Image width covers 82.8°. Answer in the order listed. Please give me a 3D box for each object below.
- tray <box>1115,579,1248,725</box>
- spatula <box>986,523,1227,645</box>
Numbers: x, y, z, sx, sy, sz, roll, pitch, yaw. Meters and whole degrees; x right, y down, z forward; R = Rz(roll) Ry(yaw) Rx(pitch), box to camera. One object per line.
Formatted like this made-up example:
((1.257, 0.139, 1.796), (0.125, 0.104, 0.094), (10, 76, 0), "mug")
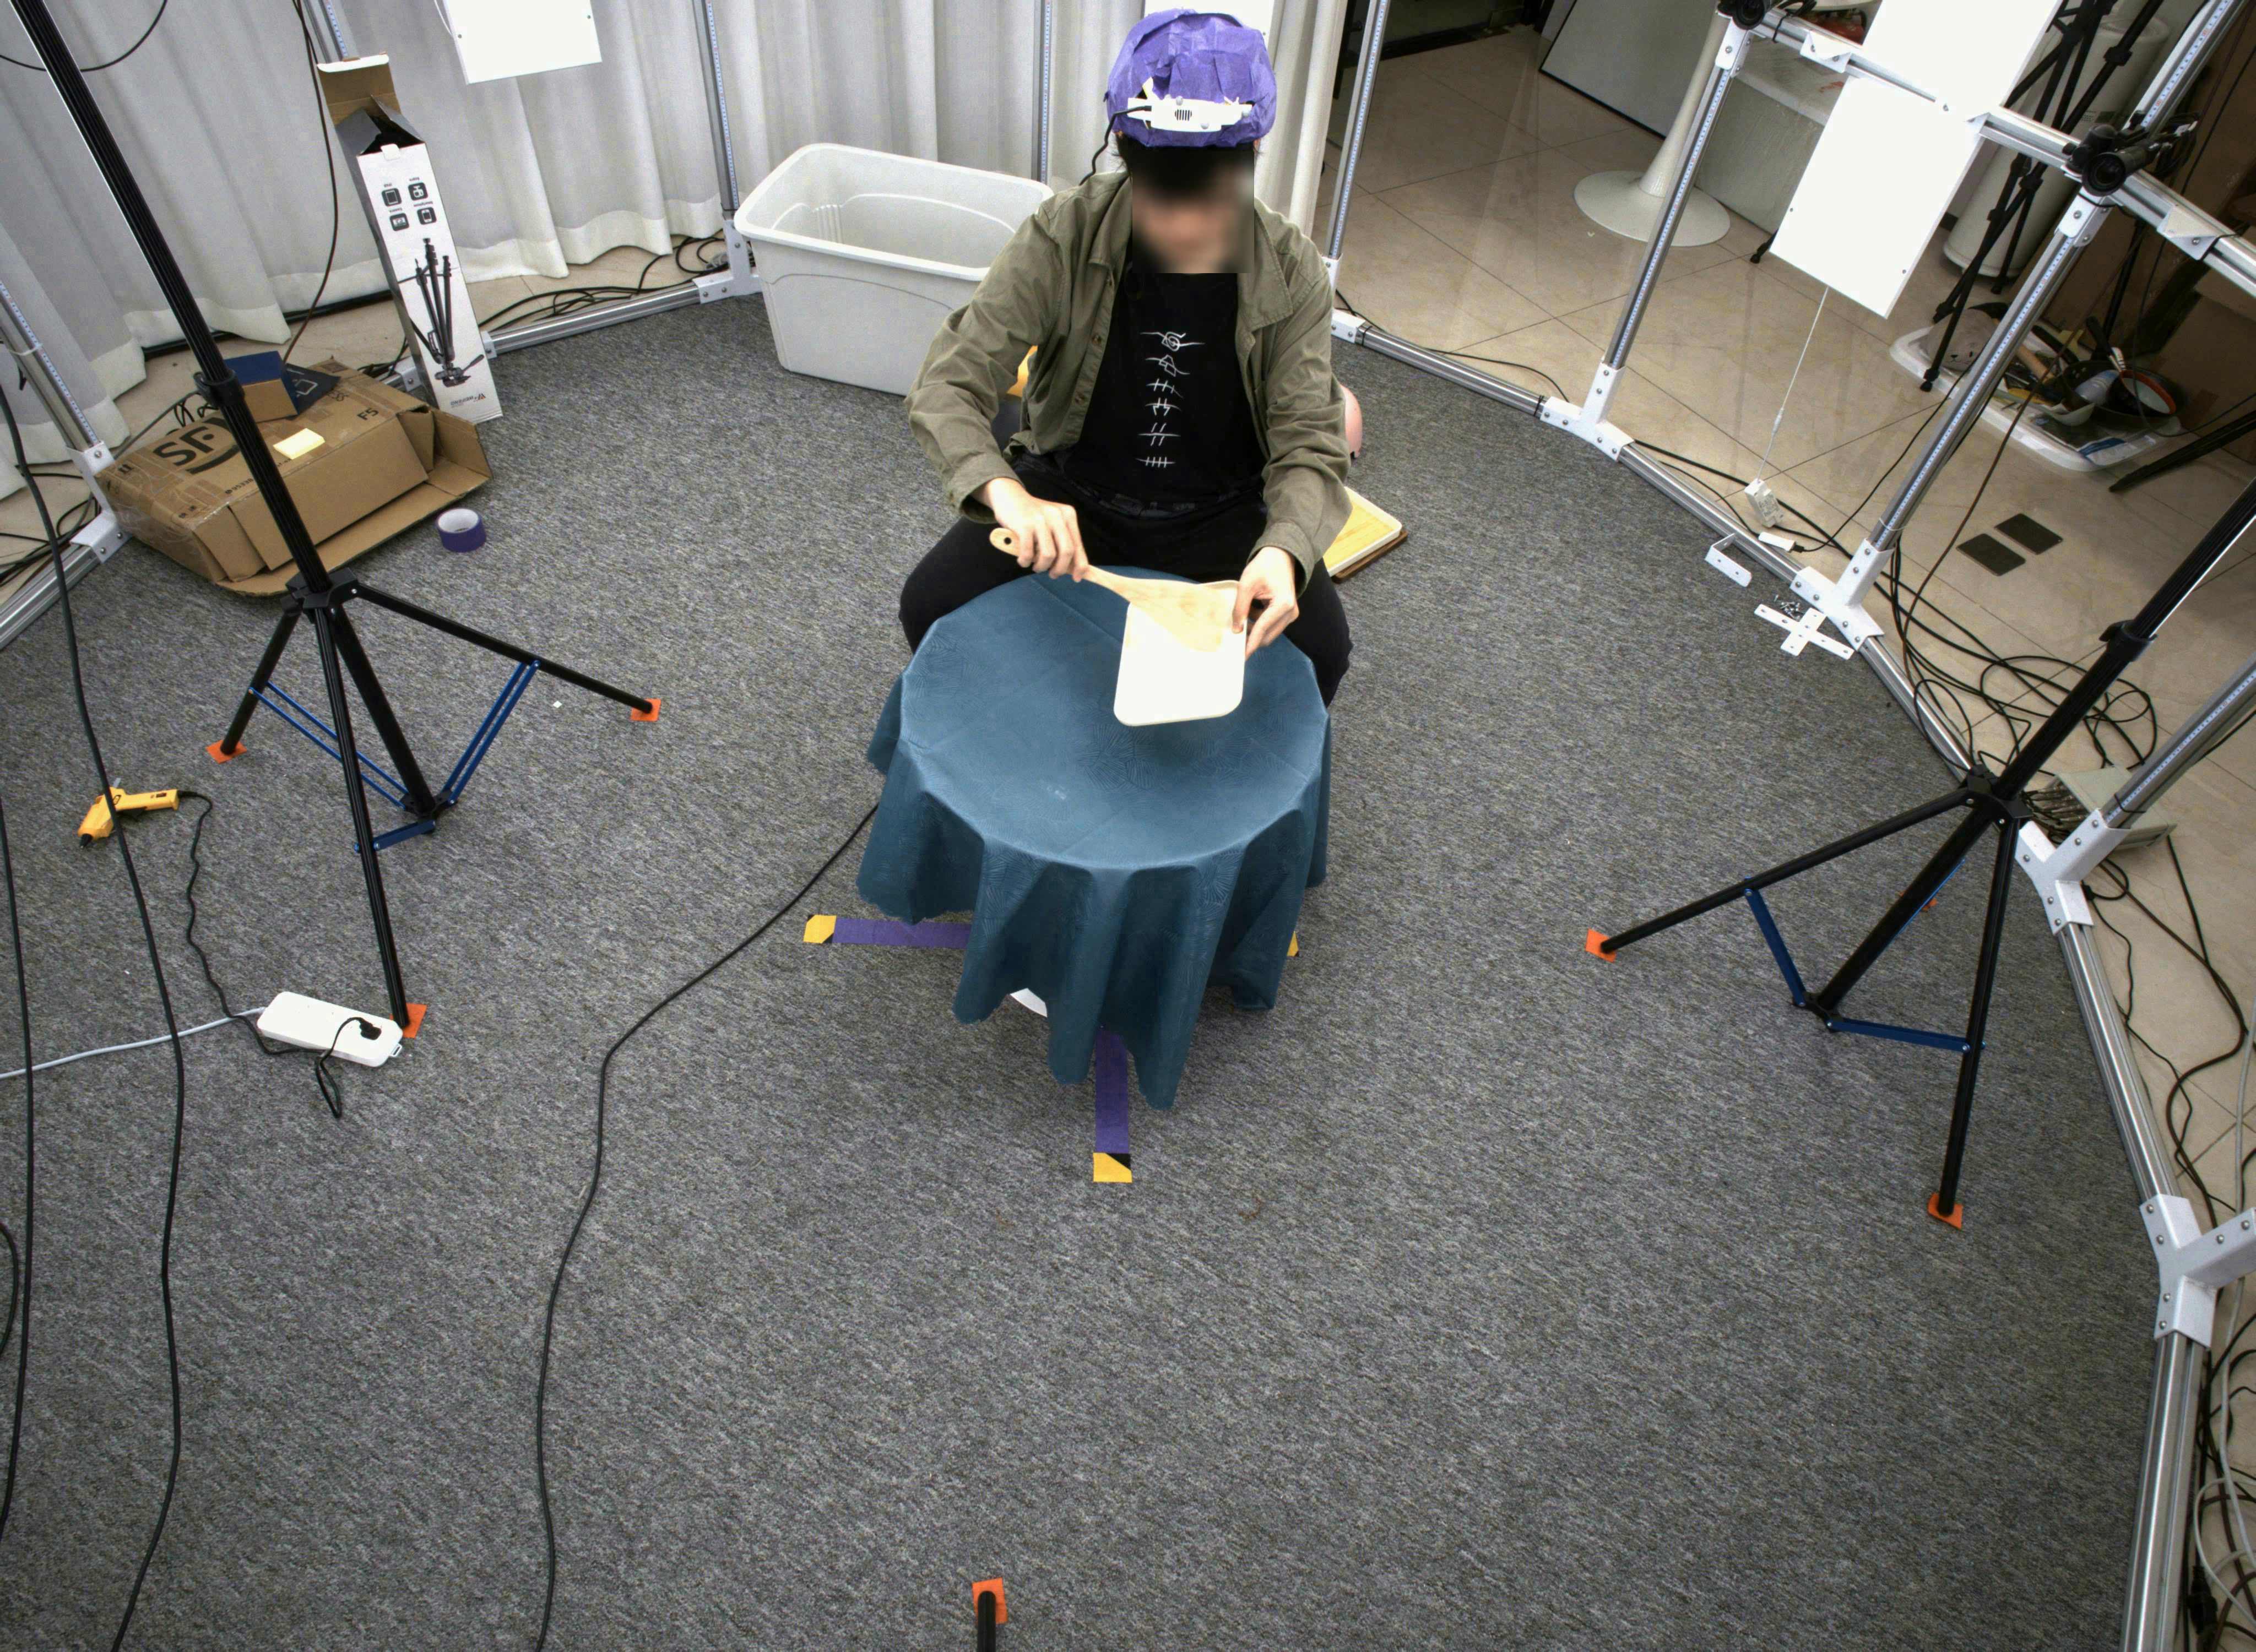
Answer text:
((0.074, -0.228, 1.688), (0.171, 0.017, 0.245), (-5, 51, 15), "tray")
((-0.025, -0.322, 1.653), (0.326, 0.079, 0.017), (19, 22, -8), "spatula")
